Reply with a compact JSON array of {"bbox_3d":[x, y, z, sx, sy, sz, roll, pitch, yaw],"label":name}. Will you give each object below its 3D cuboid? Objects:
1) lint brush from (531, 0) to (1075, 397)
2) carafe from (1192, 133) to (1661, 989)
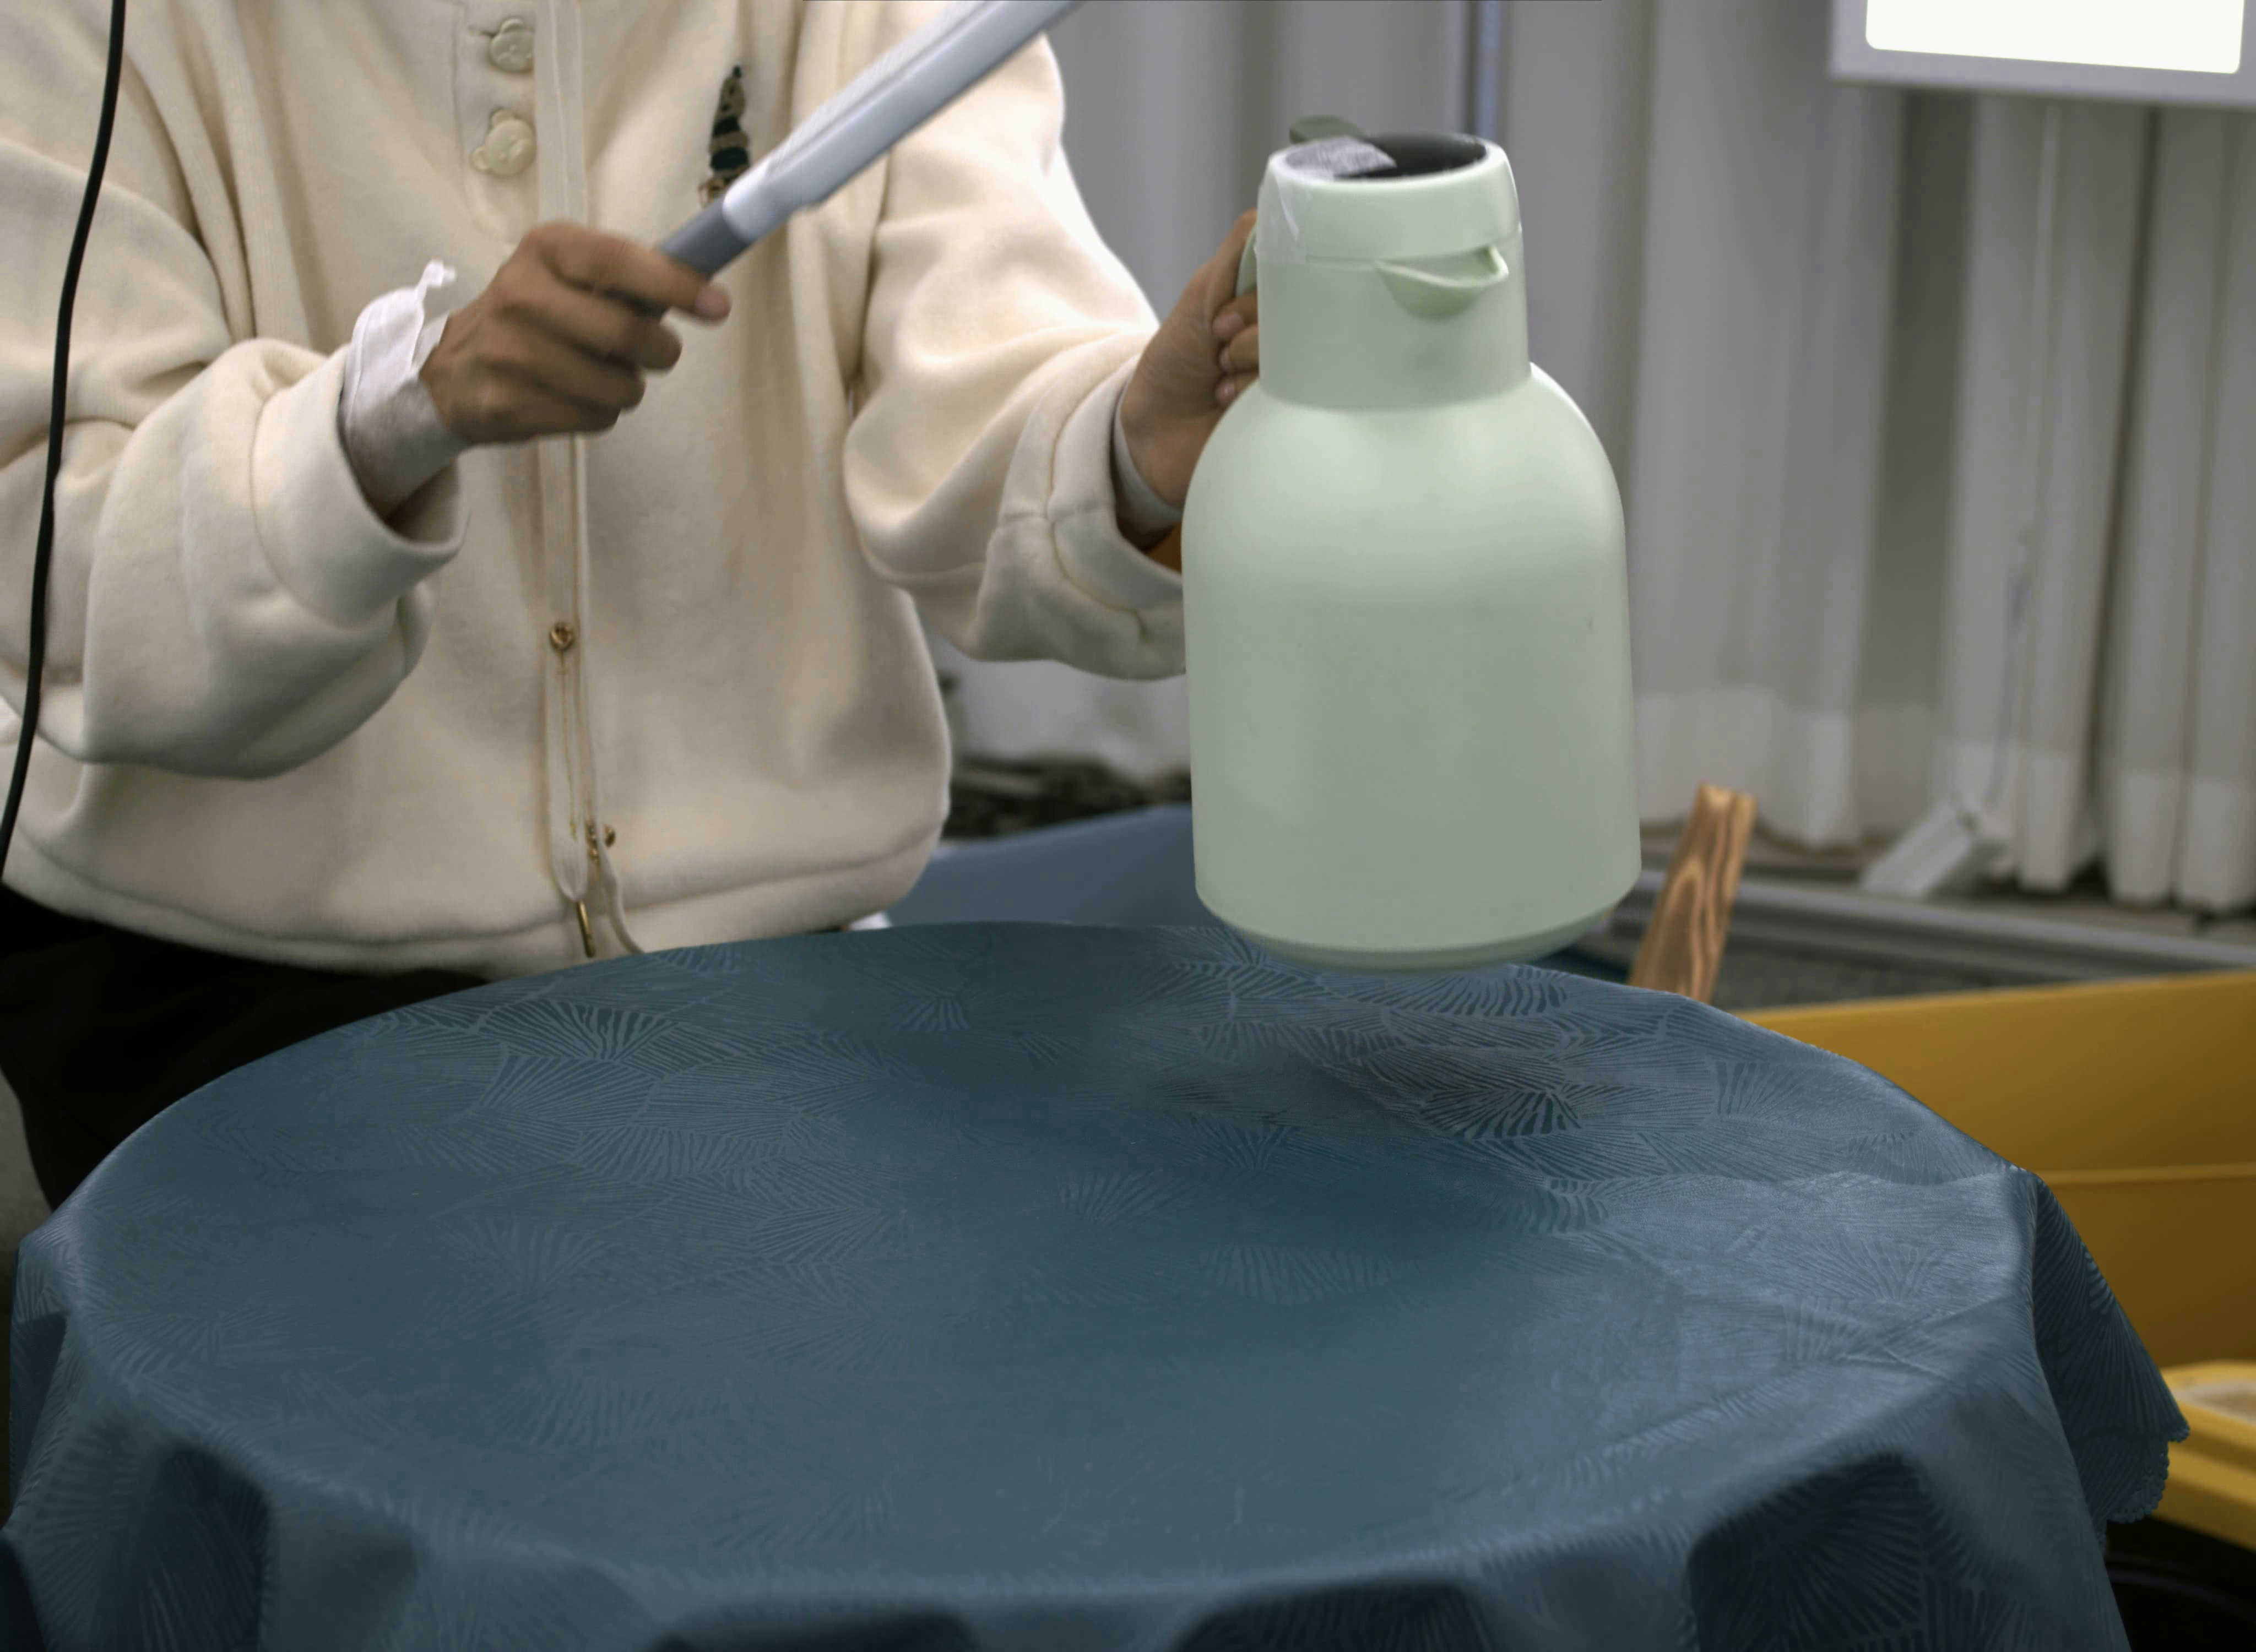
[{"bbox_3d":[-0.092,-0.213,1.645,0.308,0.021,0.060,-32,19,40],"label":"lint brush"},{"bbox_3d":[0.085,-0.090,1.685,0.144,0.259,0.185,-12,17,-17],"label":"carafe"}]
